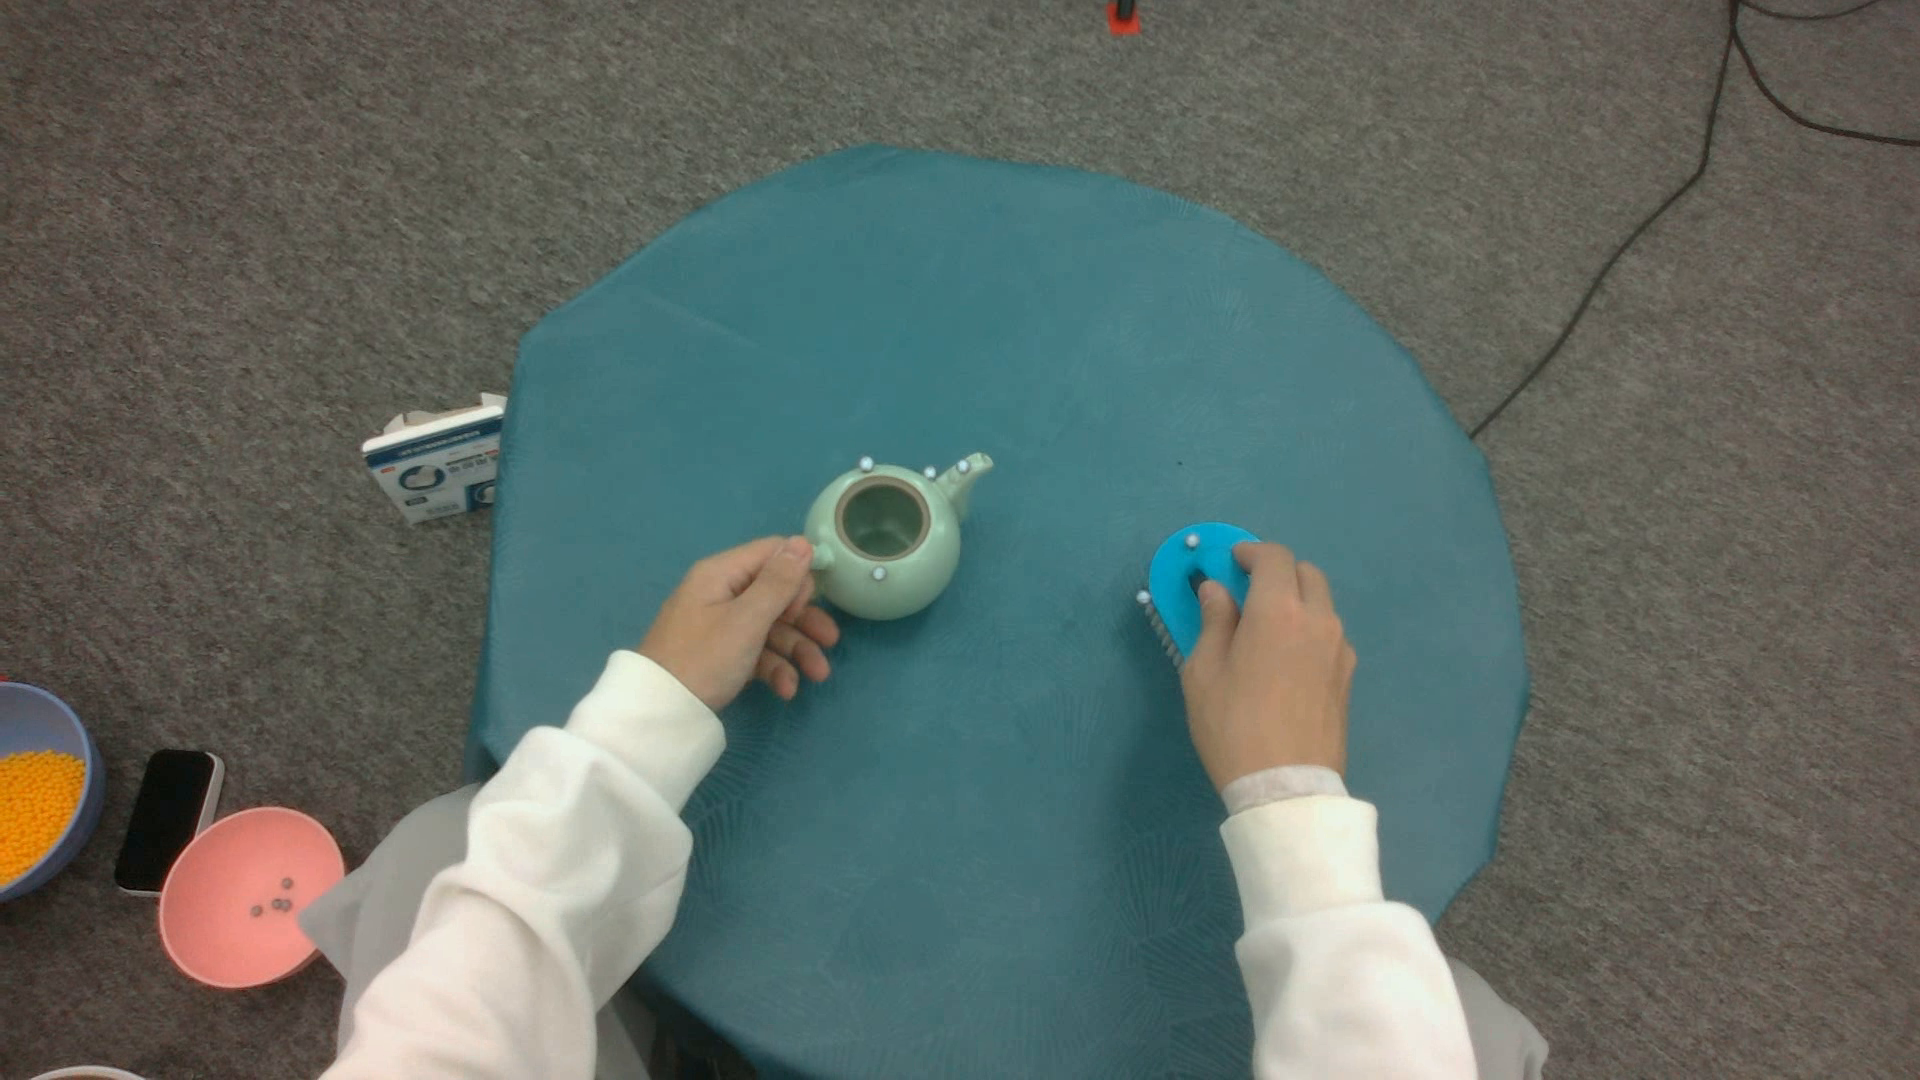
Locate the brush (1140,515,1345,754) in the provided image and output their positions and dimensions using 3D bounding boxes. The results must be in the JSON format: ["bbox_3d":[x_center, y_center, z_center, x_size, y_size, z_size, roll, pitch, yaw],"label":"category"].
[{"bbox_3d":[0.158,0.044,0.761,0.084,0.063,0.142,-21,65,-8],"label":"brush"}]

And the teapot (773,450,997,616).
[{"bbox_3d":[-0.043,-0.001,0.781,0.144,0.074,0.088,-28,69,-20],"label":"teapot"}]
